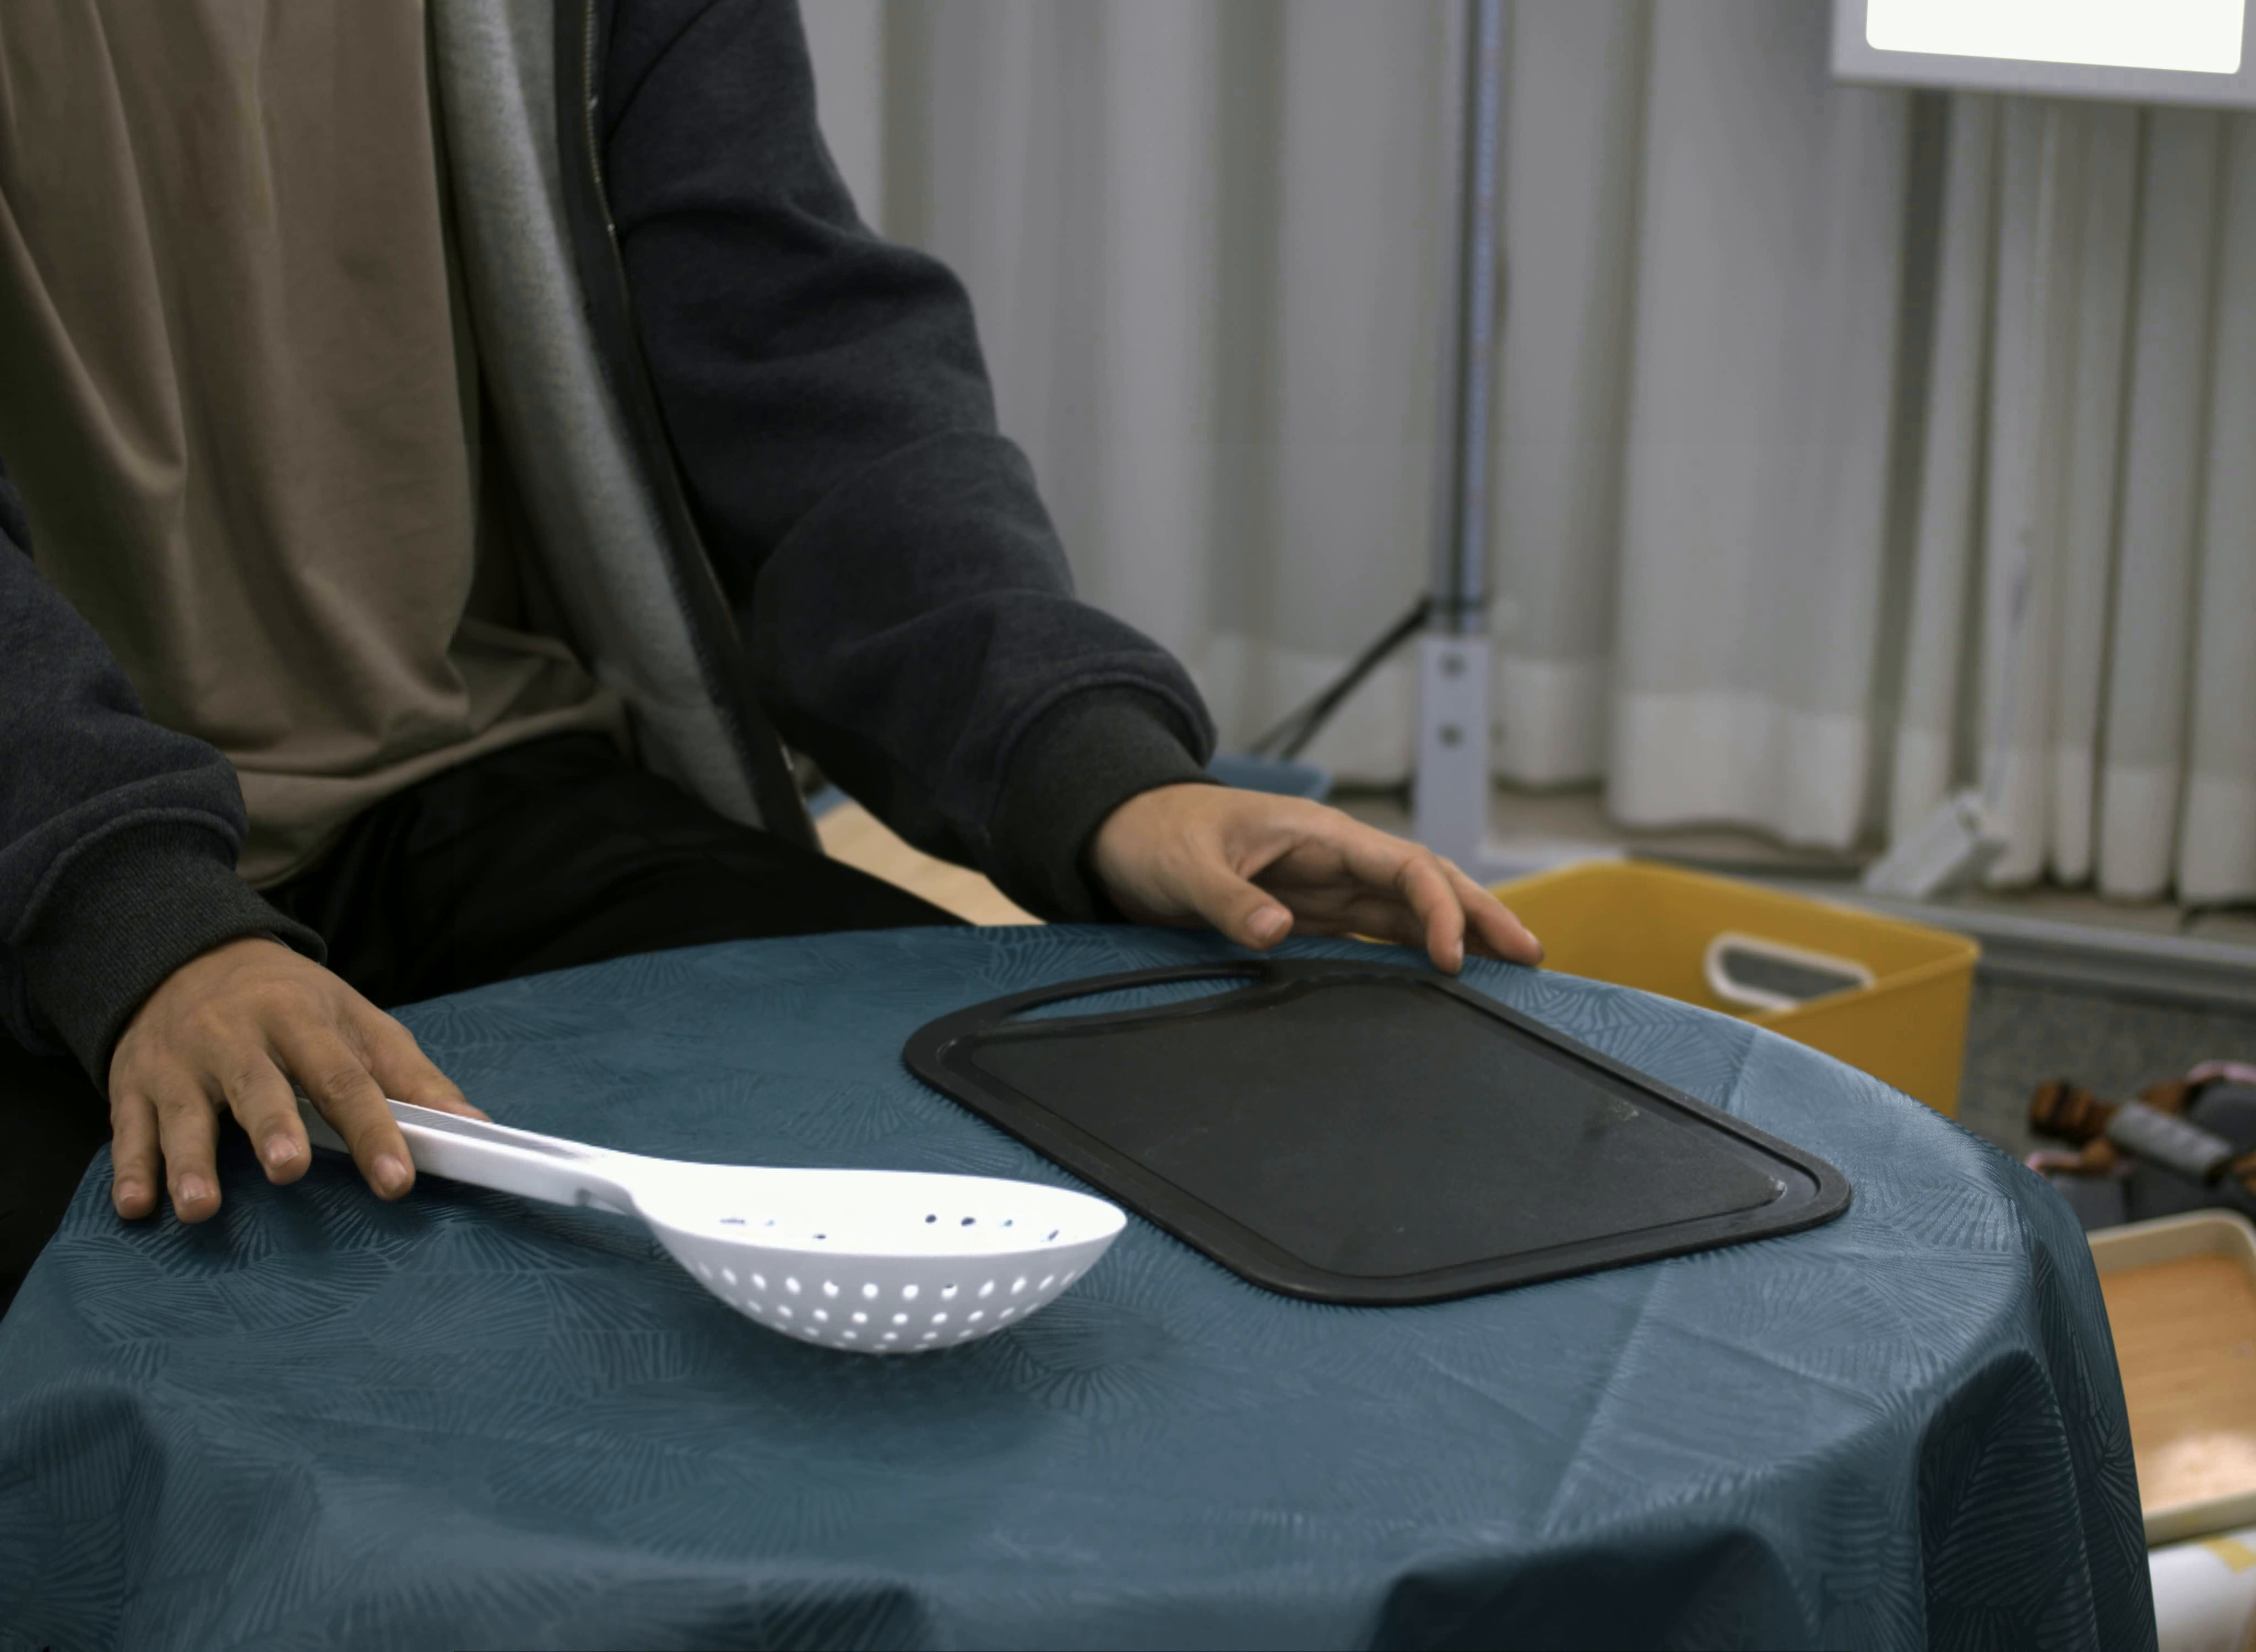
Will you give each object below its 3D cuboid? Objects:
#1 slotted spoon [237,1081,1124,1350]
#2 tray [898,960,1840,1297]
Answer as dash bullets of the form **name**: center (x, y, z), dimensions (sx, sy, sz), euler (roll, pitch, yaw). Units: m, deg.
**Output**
- **slotted spoon**: center (-0.148, 0.105, 1.555), dimensions (0.345, 0.046, 0.137), euler (13, 9, 41)
- **tray**: center (0.067, 0.090, 1.694), dimensions (0.212, 0.010, 0.321), euler (-8, 18, -28)
